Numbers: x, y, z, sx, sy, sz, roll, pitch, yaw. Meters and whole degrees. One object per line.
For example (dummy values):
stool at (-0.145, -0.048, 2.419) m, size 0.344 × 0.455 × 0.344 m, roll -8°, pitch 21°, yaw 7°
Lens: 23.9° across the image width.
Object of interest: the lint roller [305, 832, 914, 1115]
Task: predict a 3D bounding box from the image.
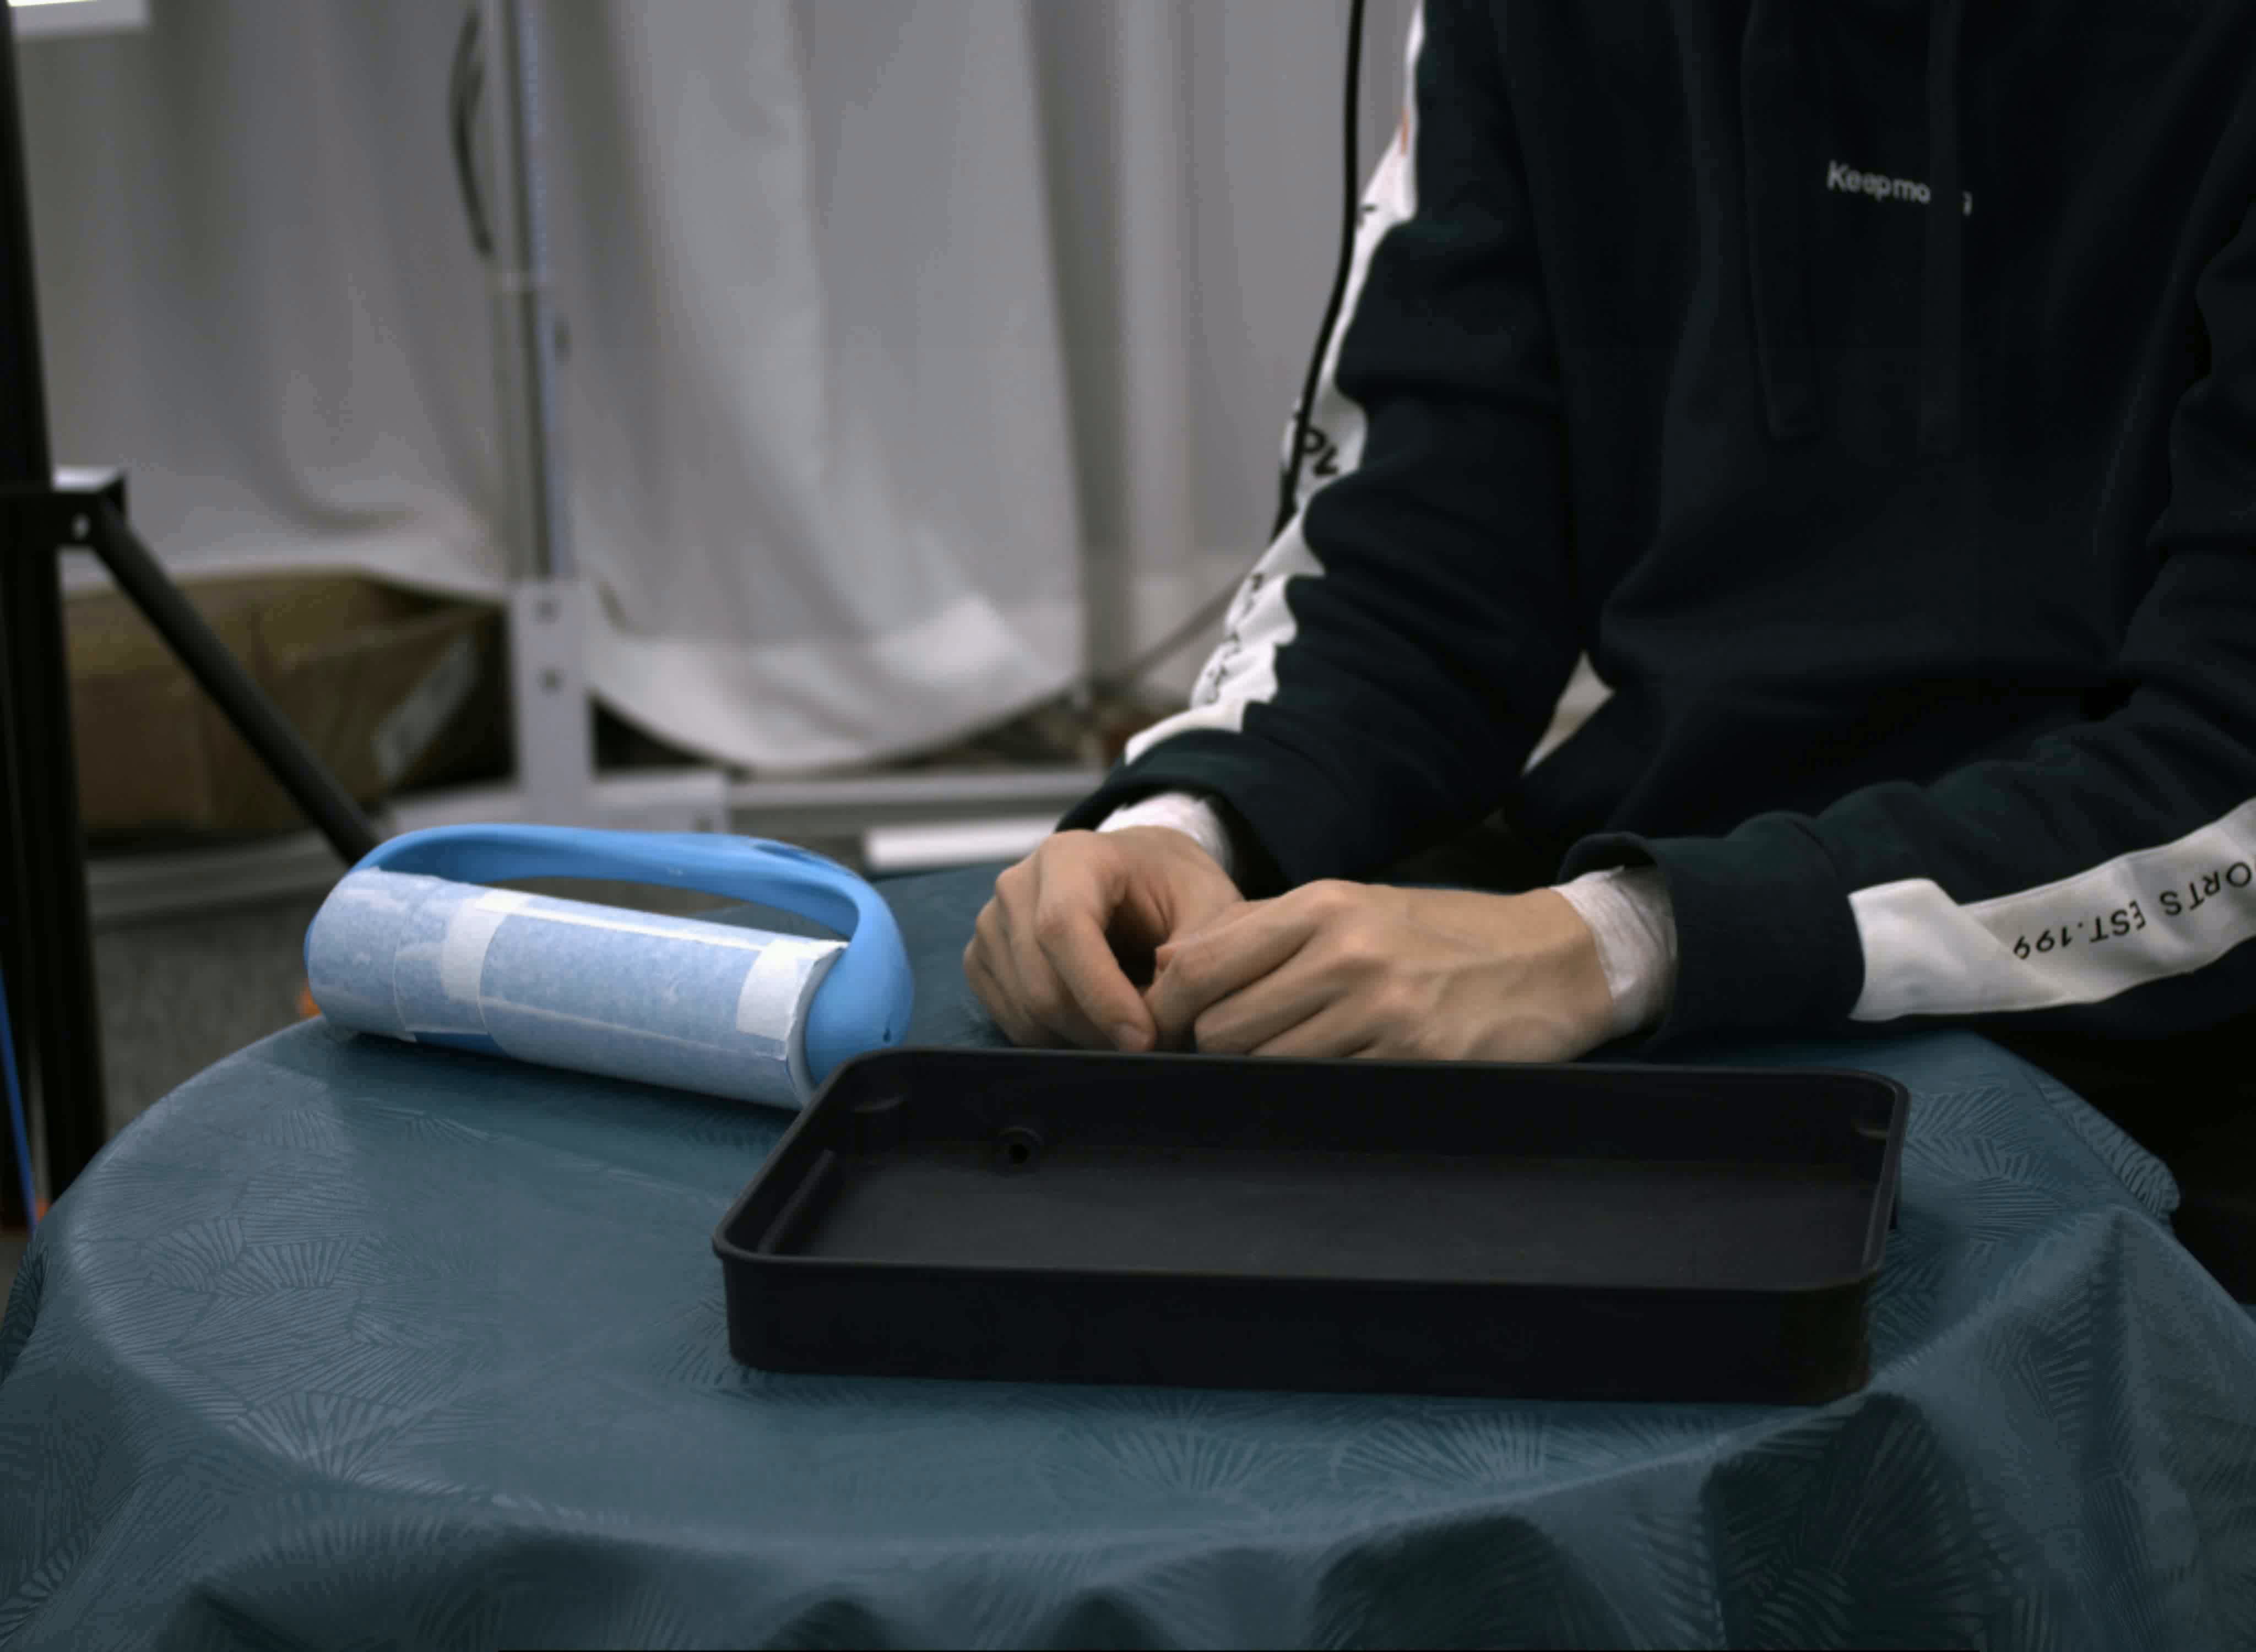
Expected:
lint roller at (-0.138, 0.035, 1.734) m, size 0.233 × 0.068 × 0.177 m, roll 5°, pitch 18°, yaw 32°

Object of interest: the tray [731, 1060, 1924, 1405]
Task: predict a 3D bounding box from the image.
tray at (0.061, 0.111, 1.476) m, size 0.319 × 0.037 × 0.183 m, roll -1°, pitch 15°, yaw 12°
